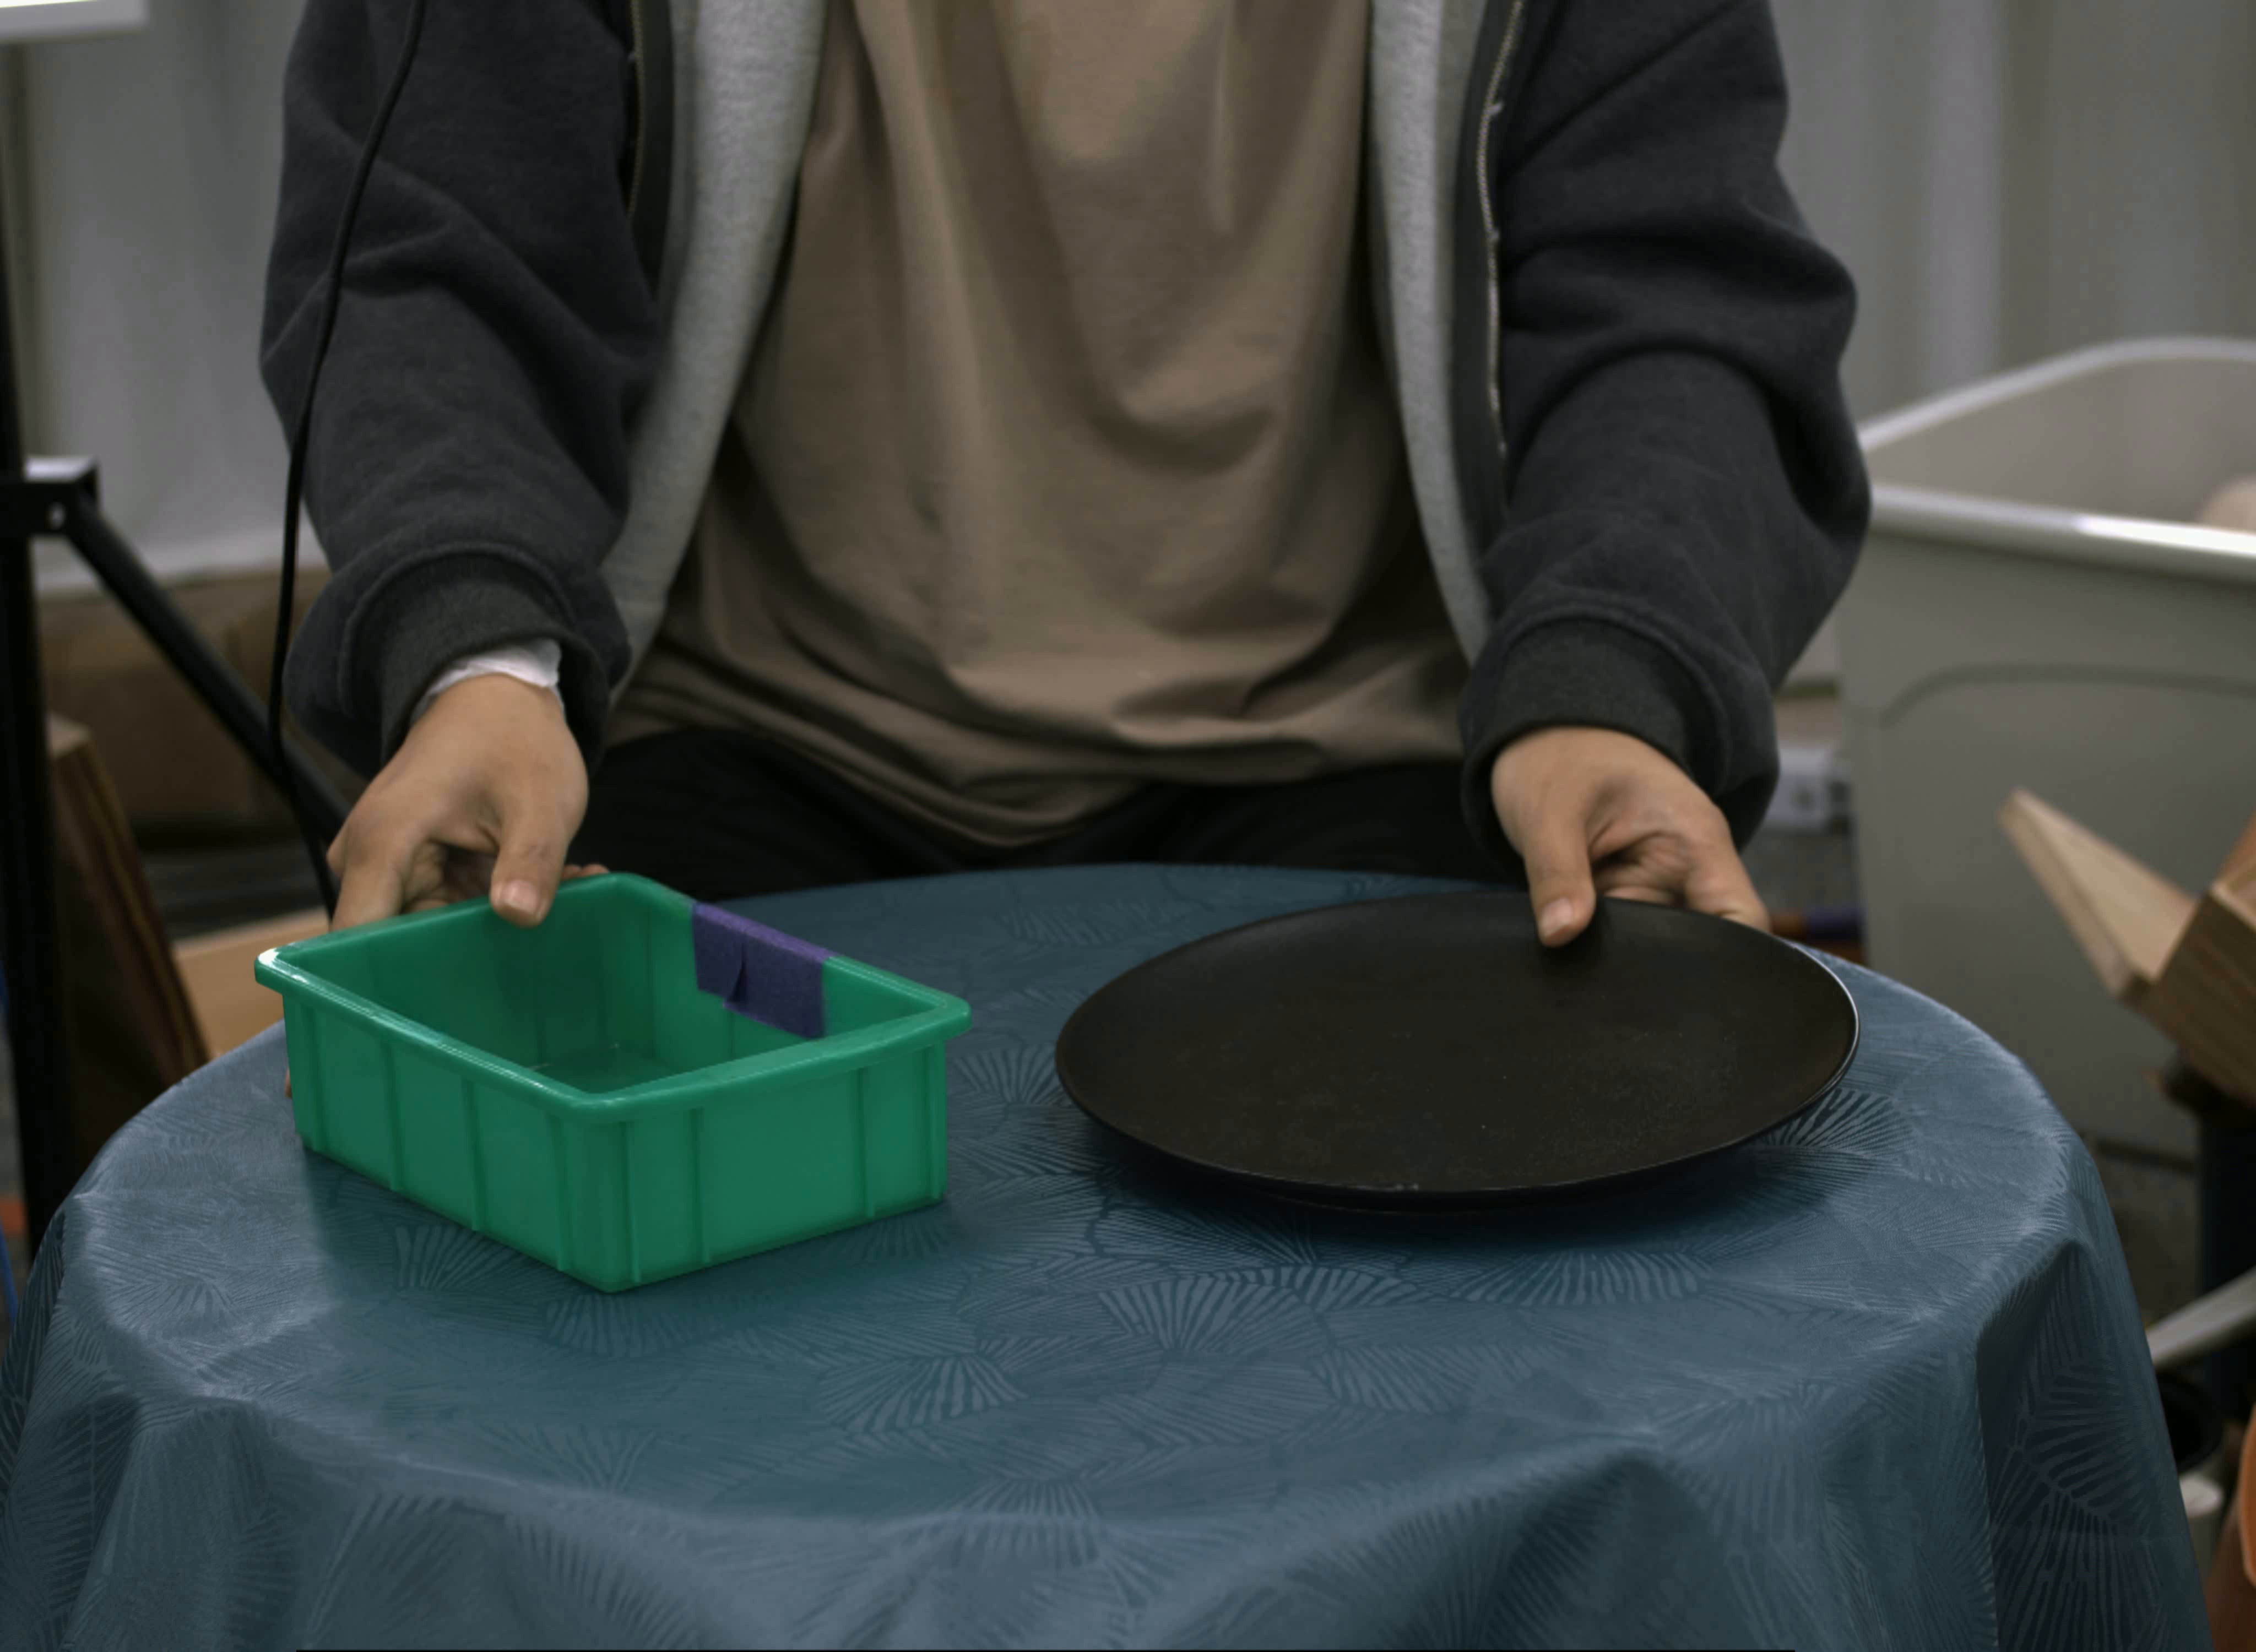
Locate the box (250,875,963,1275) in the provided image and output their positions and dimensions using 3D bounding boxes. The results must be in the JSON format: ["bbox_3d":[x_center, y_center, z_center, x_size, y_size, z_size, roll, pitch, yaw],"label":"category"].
[{"bbox_3d":[-0.157,0.073,1.595,0.135,0.065,0.215,-12,16,-36],"label":"box"}]

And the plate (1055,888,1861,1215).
[{"bbox_3d":[0.100,0.072,1.608,0.243,0.023,0.246,-5,19,0],"label":"plate"}]
